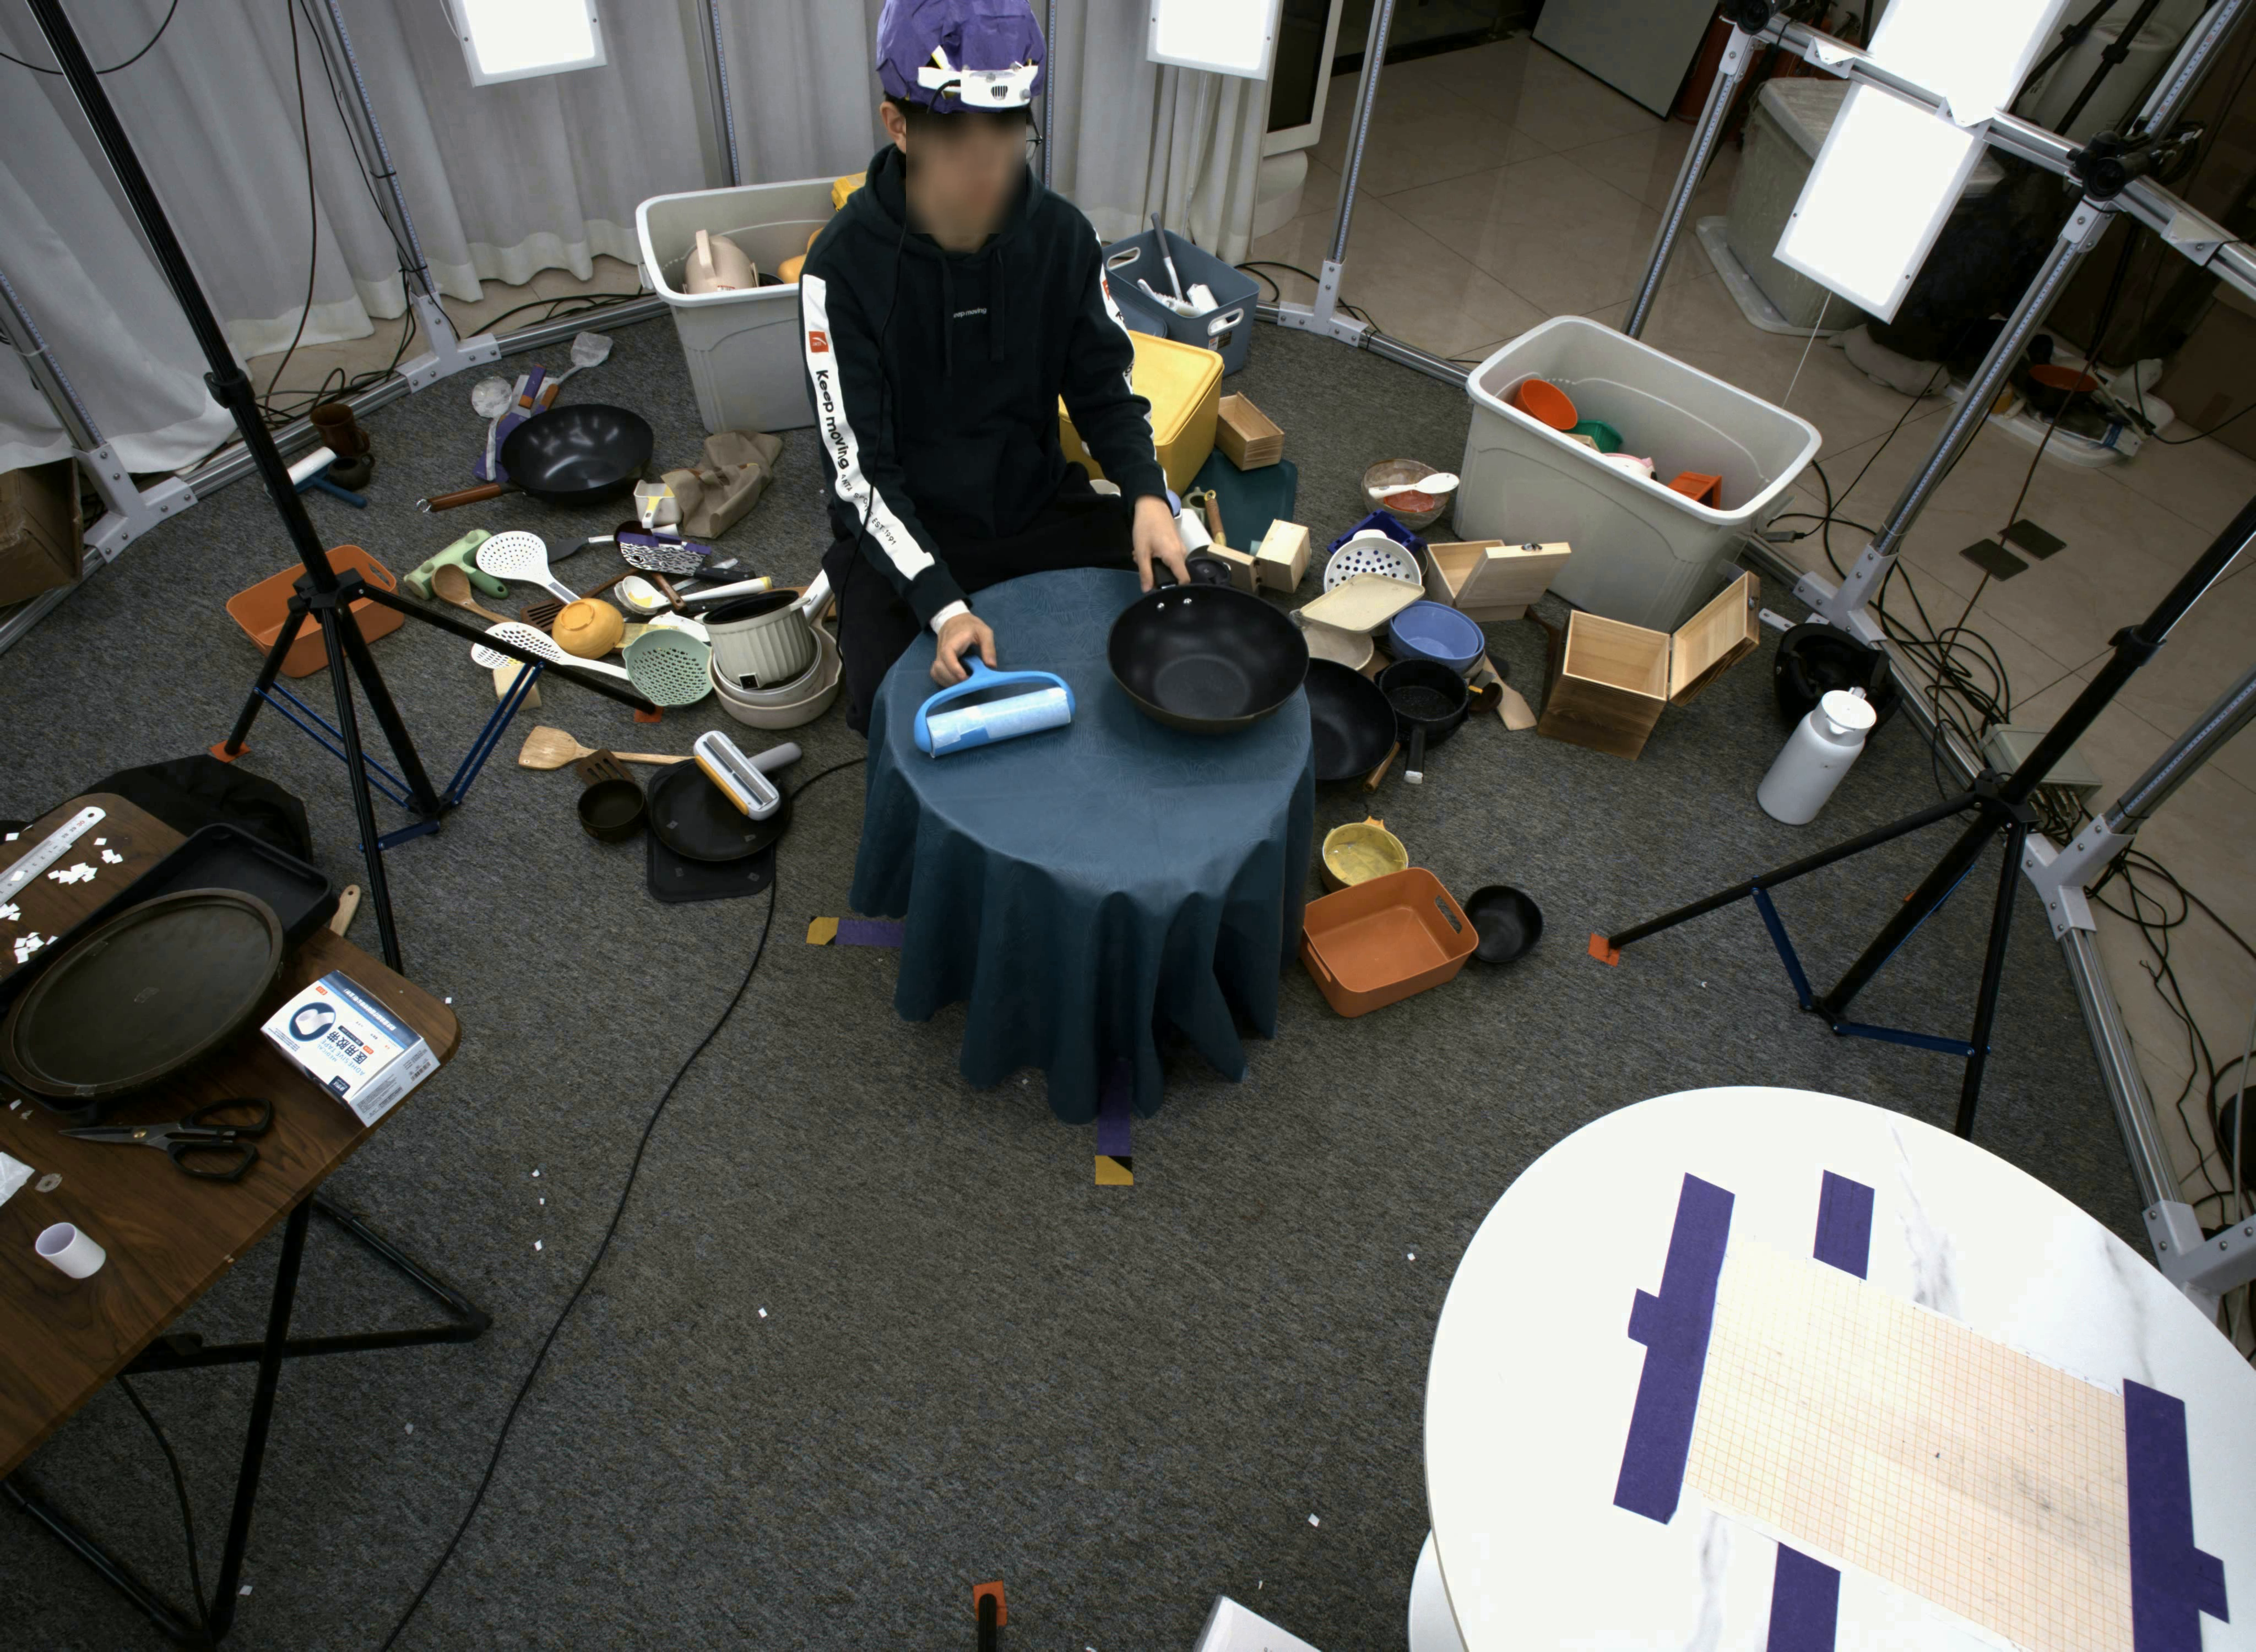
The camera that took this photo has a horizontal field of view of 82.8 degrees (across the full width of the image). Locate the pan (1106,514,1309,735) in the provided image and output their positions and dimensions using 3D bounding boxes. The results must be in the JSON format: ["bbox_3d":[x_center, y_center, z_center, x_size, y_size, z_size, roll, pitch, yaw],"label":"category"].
[{"bbox_3d":[0.078,-0.288,1.870,0.288,0.085,0.474,-12,50,-15],"label":"pan"}]

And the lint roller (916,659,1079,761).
[{"bbox_3d":[-0.200,-0.184,1.779,0.229,0.066,0.184,-19,54,-16],"label":"lint roller"}]
